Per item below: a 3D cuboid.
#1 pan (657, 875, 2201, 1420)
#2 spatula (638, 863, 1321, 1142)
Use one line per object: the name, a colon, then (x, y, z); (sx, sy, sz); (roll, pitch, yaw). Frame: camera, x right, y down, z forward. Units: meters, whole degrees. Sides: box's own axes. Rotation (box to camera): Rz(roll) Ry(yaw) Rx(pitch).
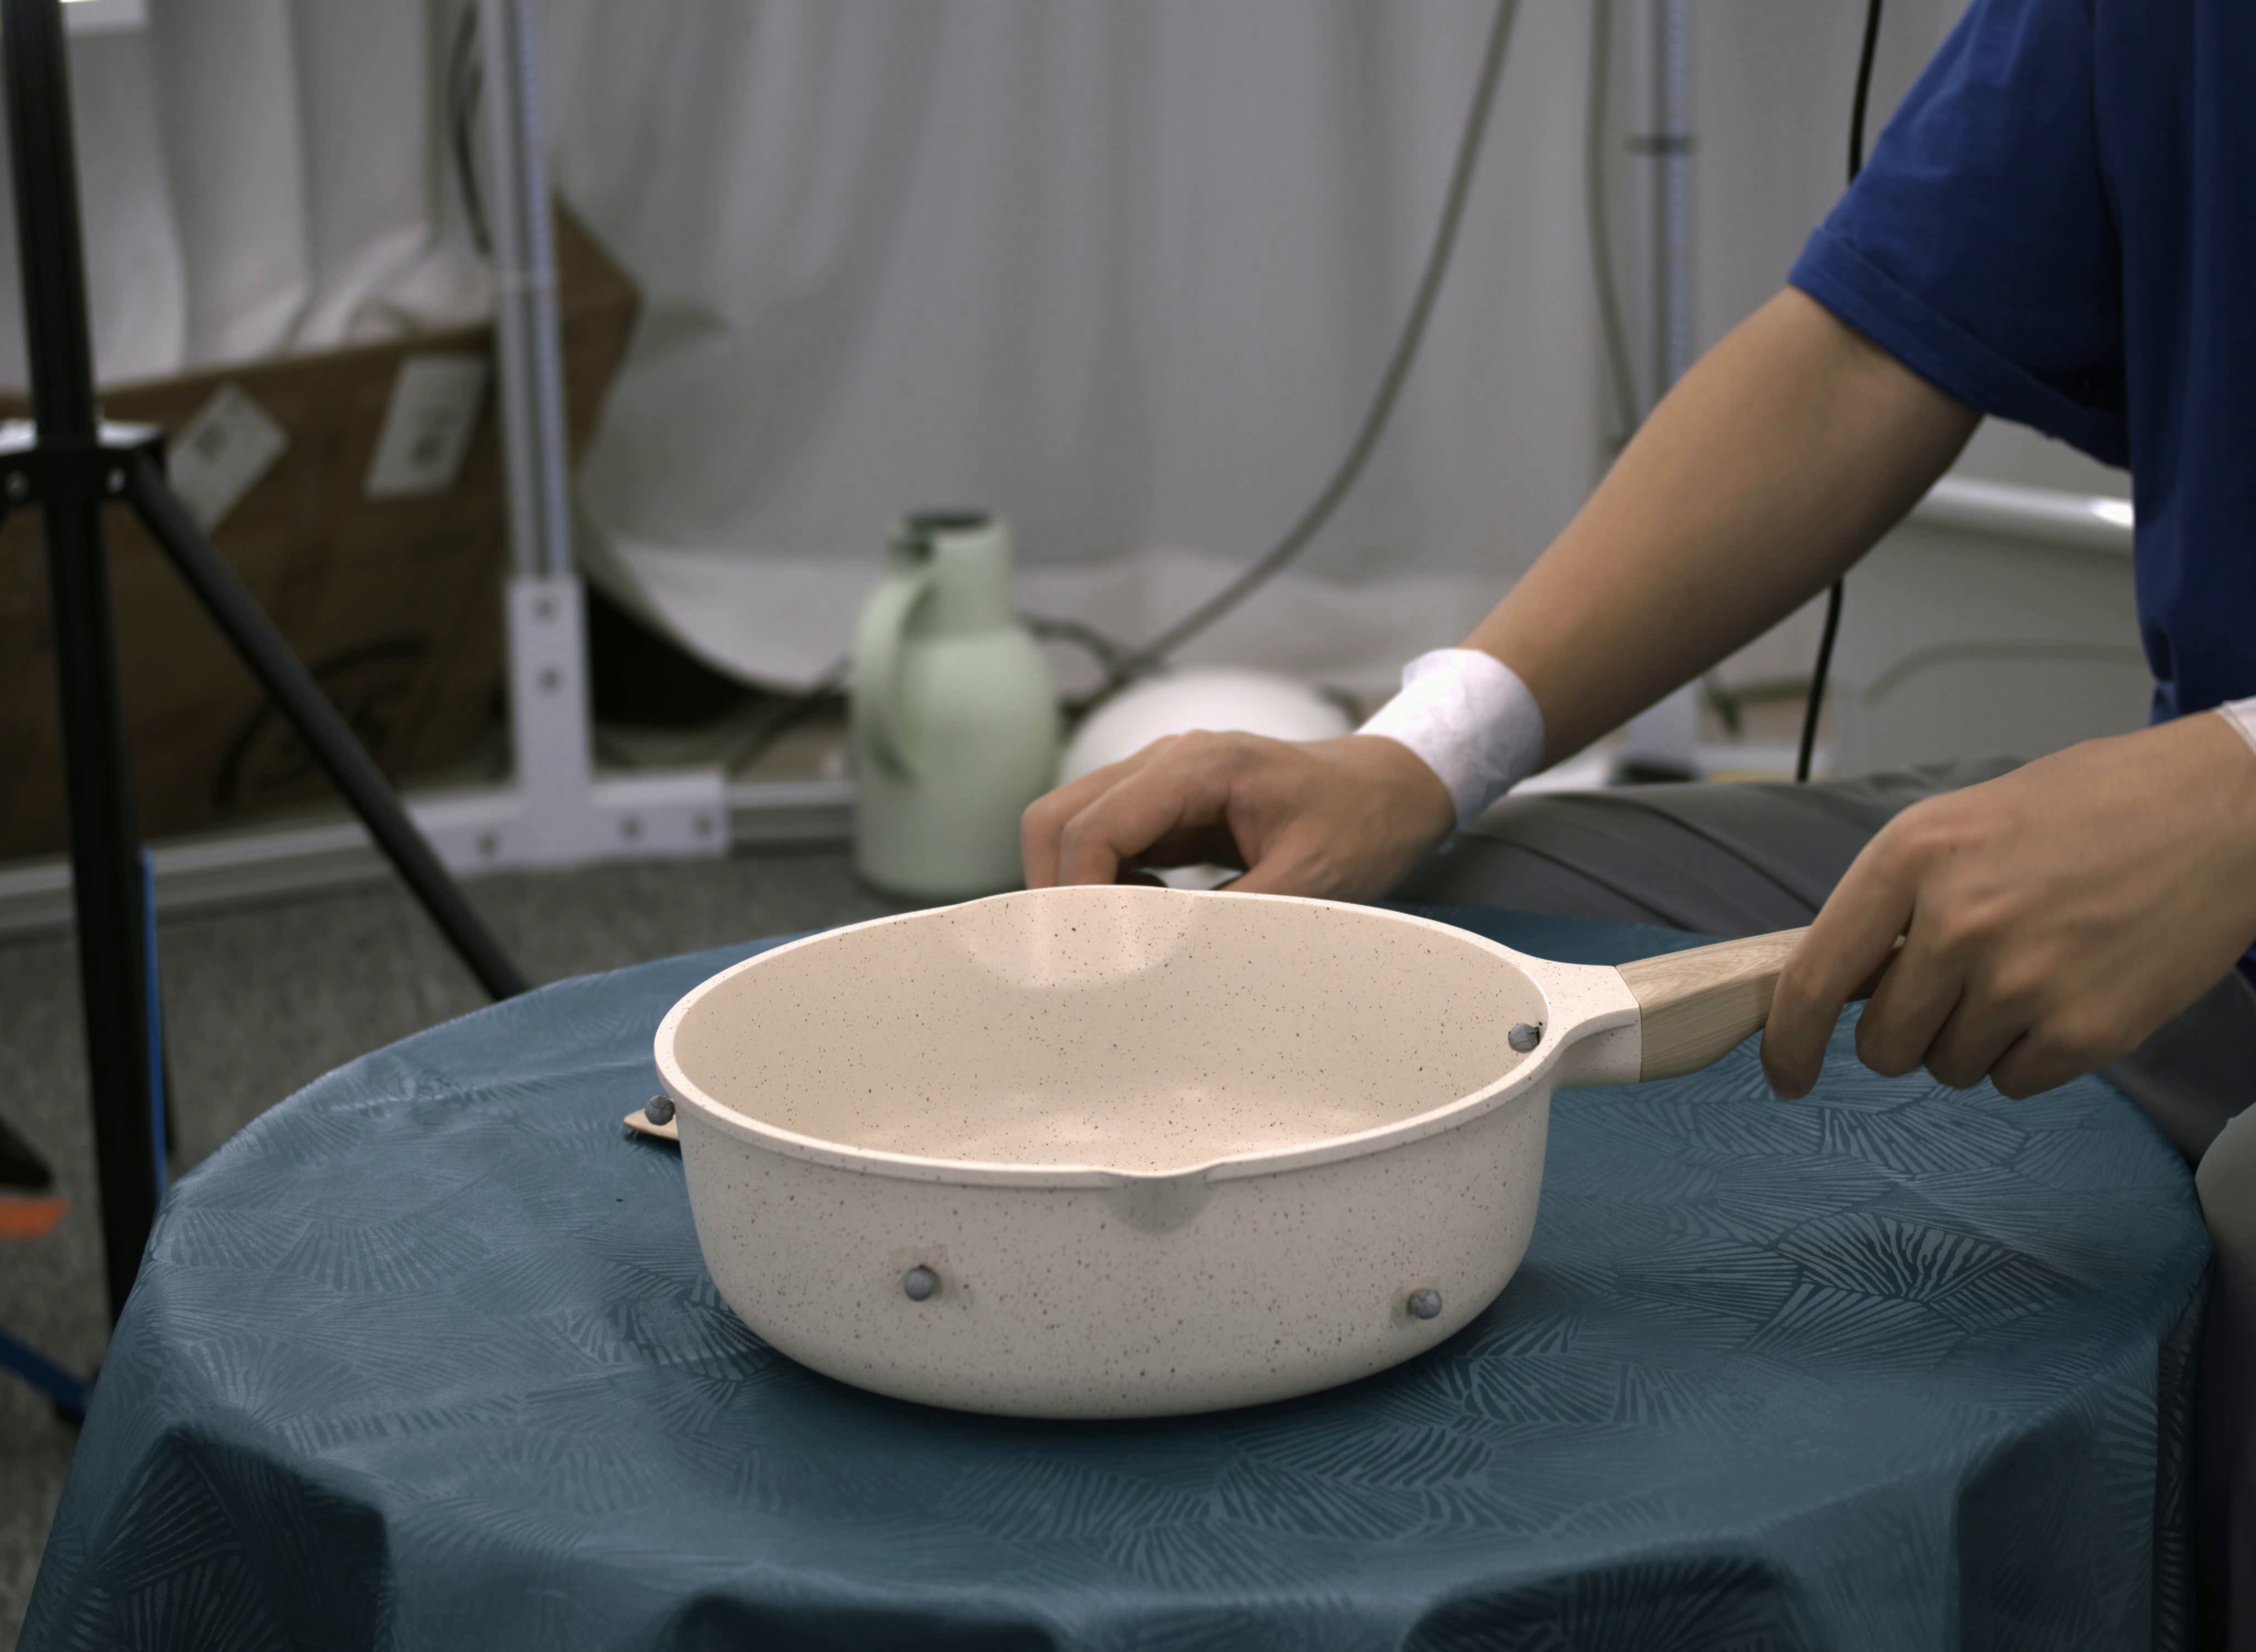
pan: (0.088, 0.079, 1.464); (0.431, 0.102, 0.265); (-4, 14, -5)
spatula: (-0.035, 0.057, 1.709); (0.074, 0.010, 0.287); (10, 24, 40)
